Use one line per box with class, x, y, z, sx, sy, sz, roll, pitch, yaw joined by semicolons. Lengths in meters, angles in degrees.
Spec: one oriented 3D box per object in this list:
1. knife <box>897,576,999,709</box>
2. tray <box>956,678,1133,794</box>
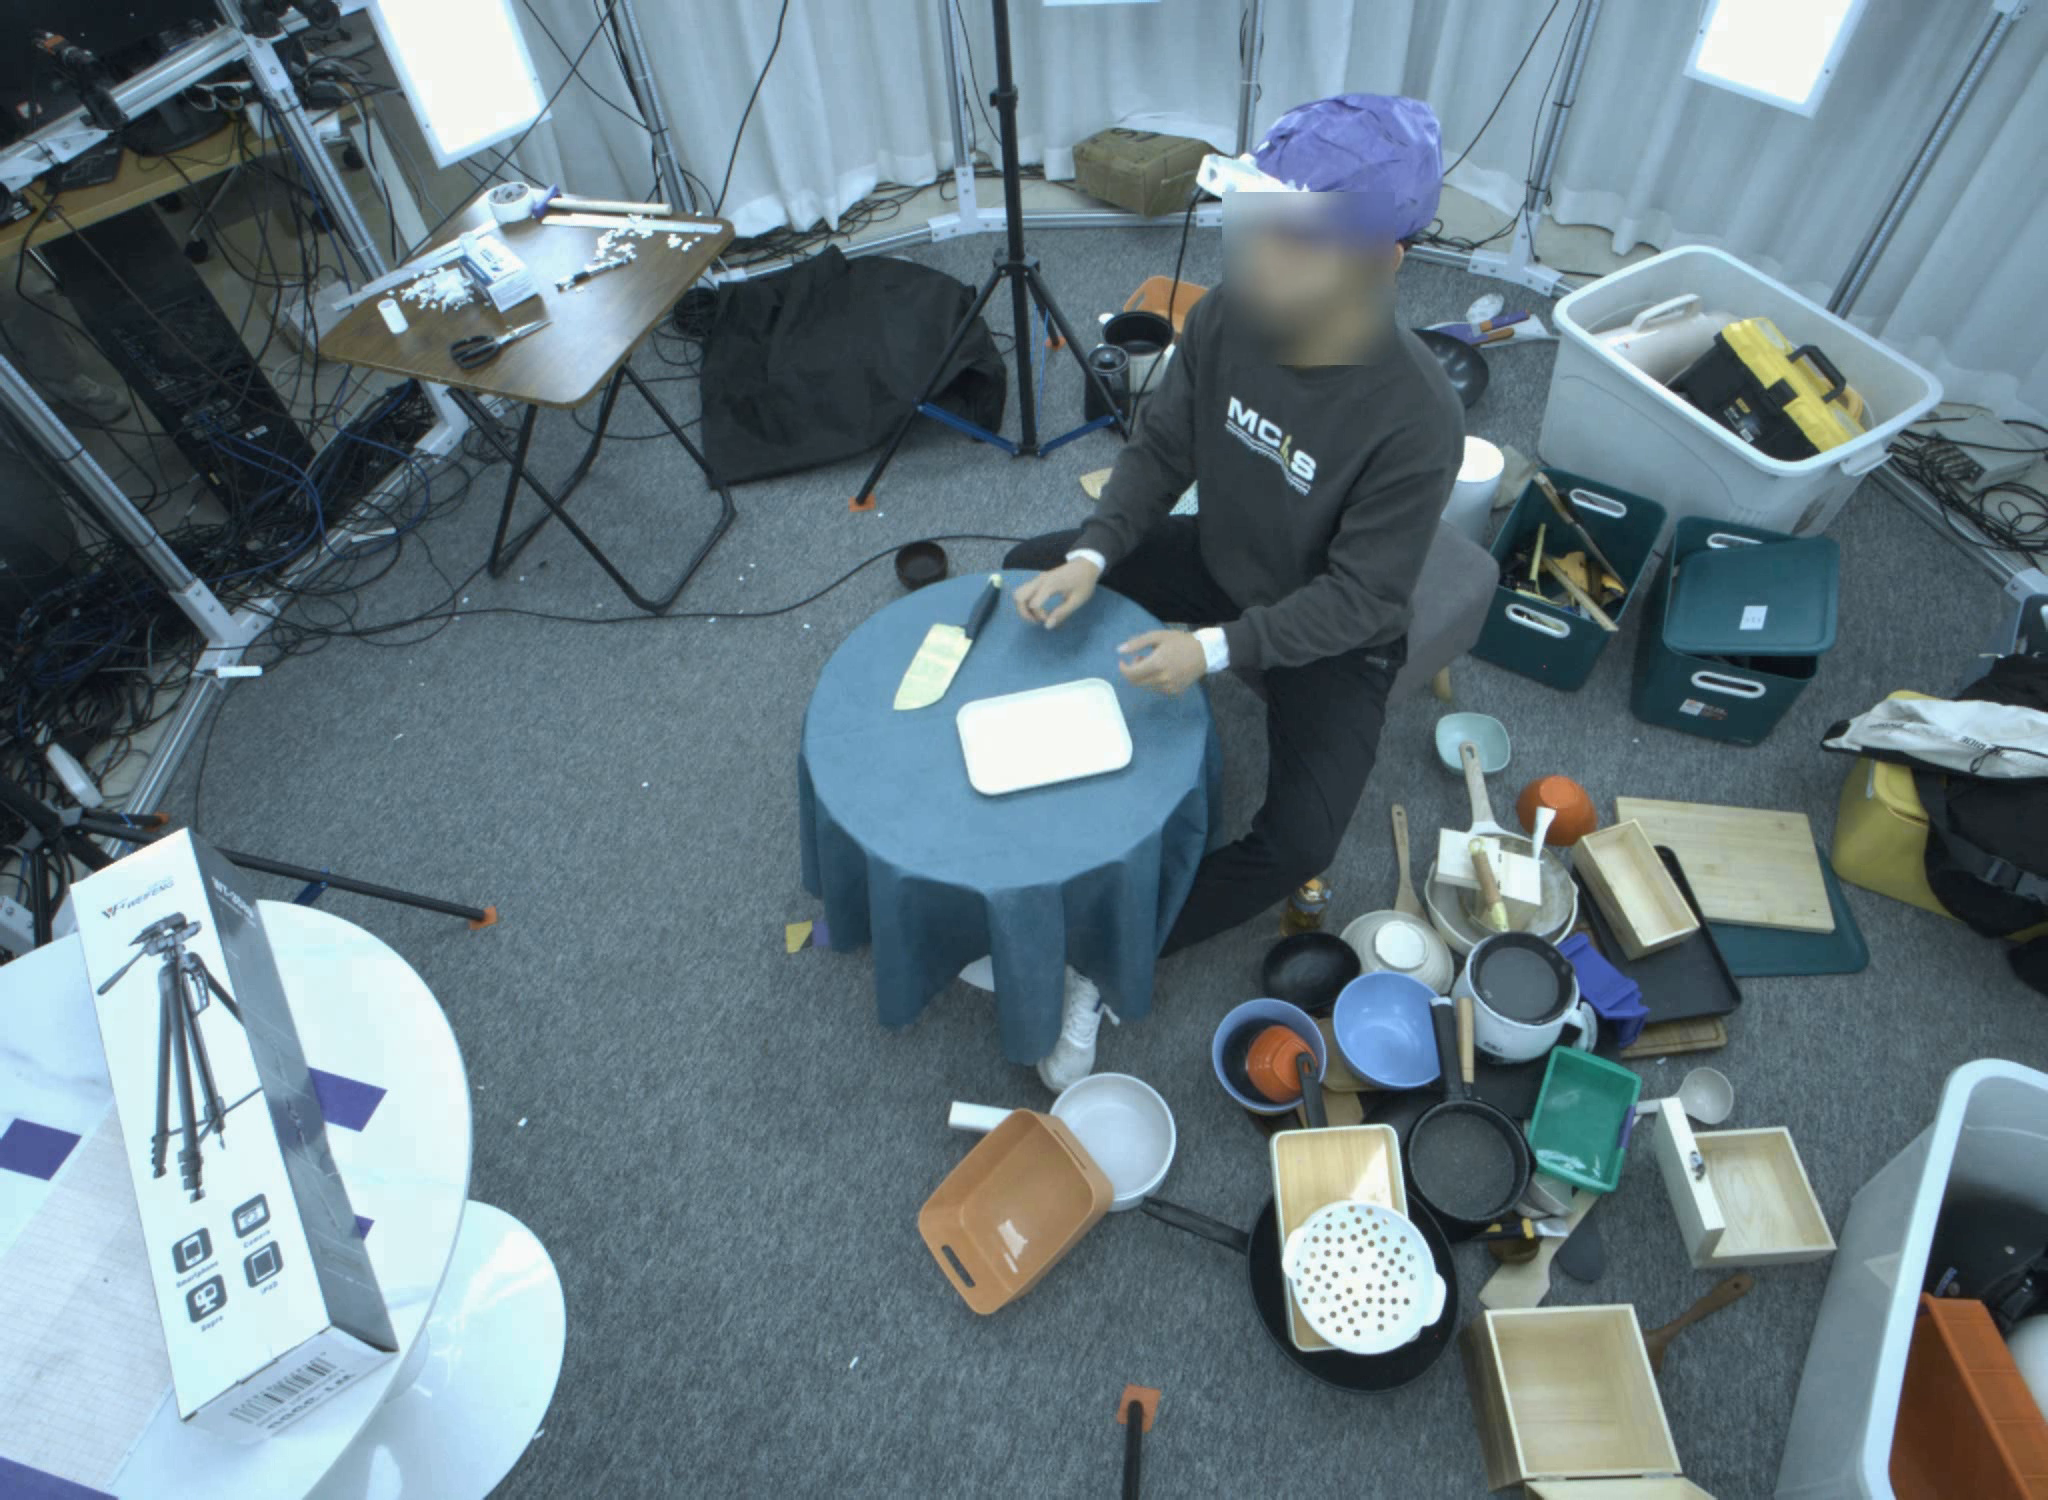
knife;-0.116;-0.171;1.911;0.080;0.027;0.290;21;59;14
tray;0.029;-0.021;1.798;0.241;0.017;0.168;-11;54;-7
